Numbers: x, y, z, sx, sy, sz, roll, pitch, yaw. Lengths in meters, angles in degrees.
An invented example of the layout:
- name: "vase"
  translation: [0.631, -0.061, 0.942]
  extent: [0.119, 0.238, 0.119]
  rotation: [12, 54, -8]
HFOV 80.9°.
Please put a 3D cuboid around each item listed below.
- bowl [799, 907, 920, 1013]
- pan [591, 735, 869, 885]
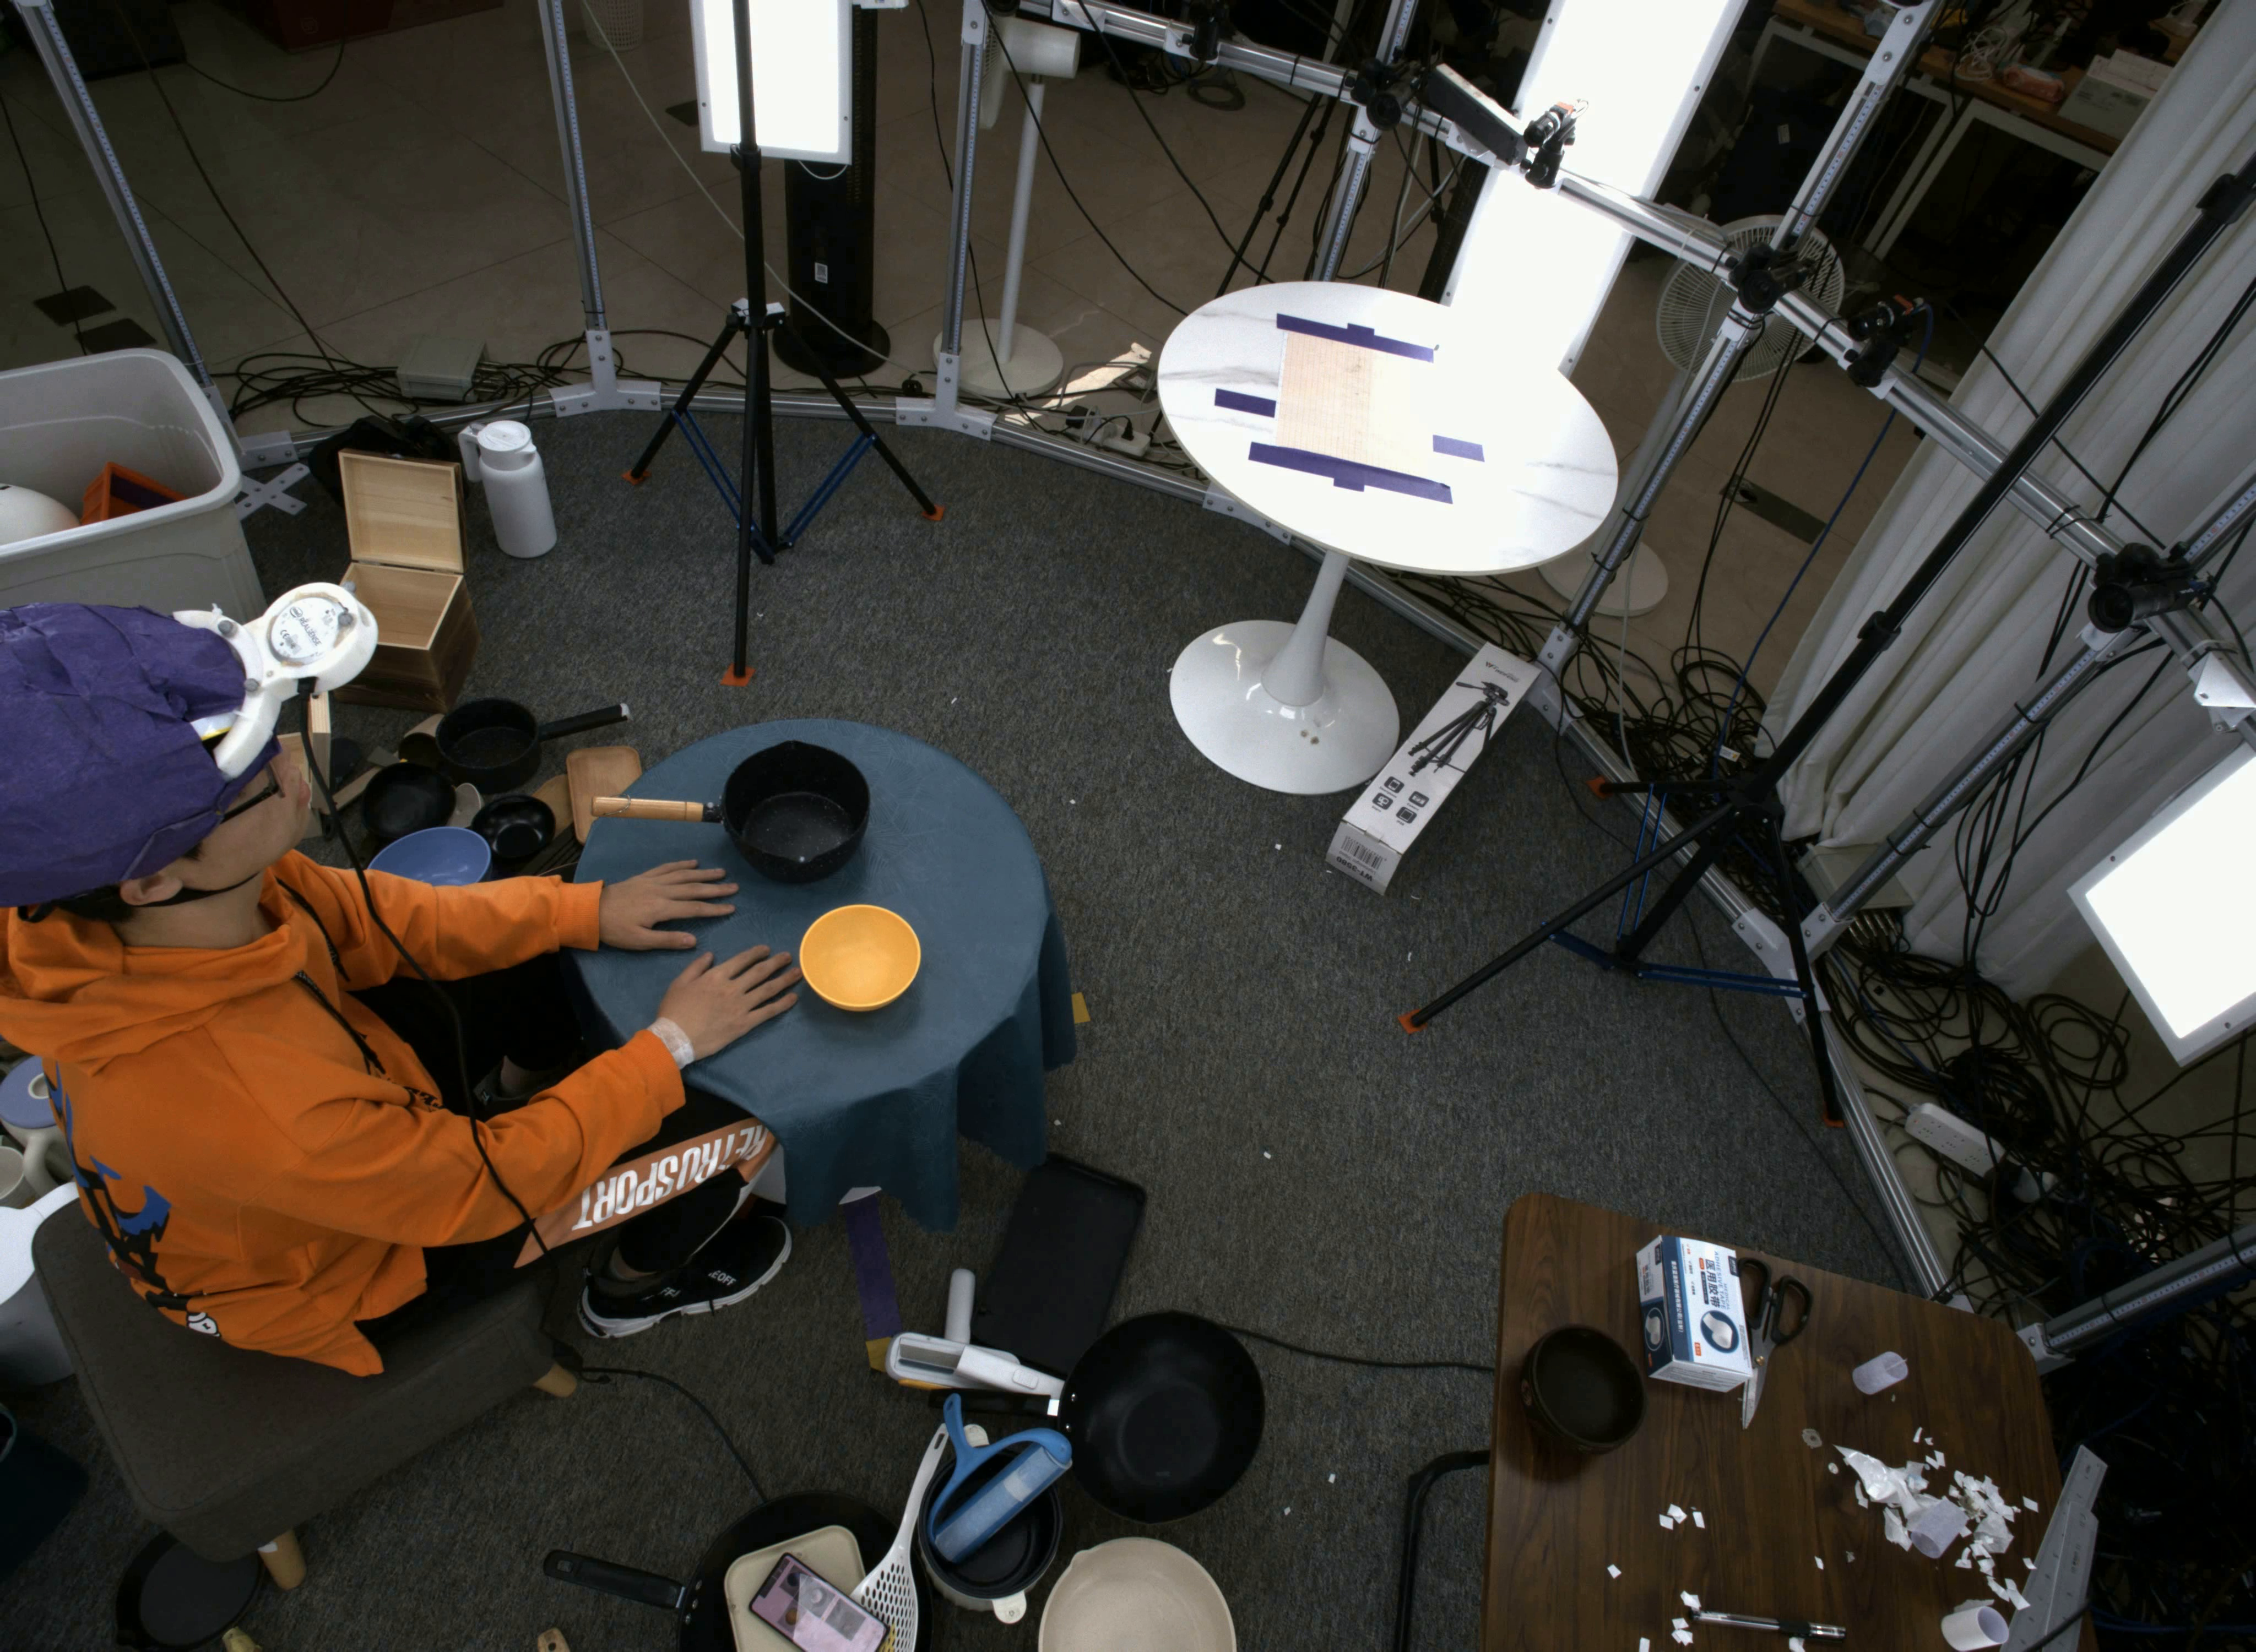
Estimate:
- name: "bowl"
  translation: [-0.325, 0.171, 1.574]
  extent: [0.145, 0.061, 0.142]
  rotation: [8, 51, -8]
- name: "pan"
  translation: [-0.501, -0.011, 1.632]
  extent: [0.344, 0.110, 0.203]
  rotation: [-5, 56, -20]
